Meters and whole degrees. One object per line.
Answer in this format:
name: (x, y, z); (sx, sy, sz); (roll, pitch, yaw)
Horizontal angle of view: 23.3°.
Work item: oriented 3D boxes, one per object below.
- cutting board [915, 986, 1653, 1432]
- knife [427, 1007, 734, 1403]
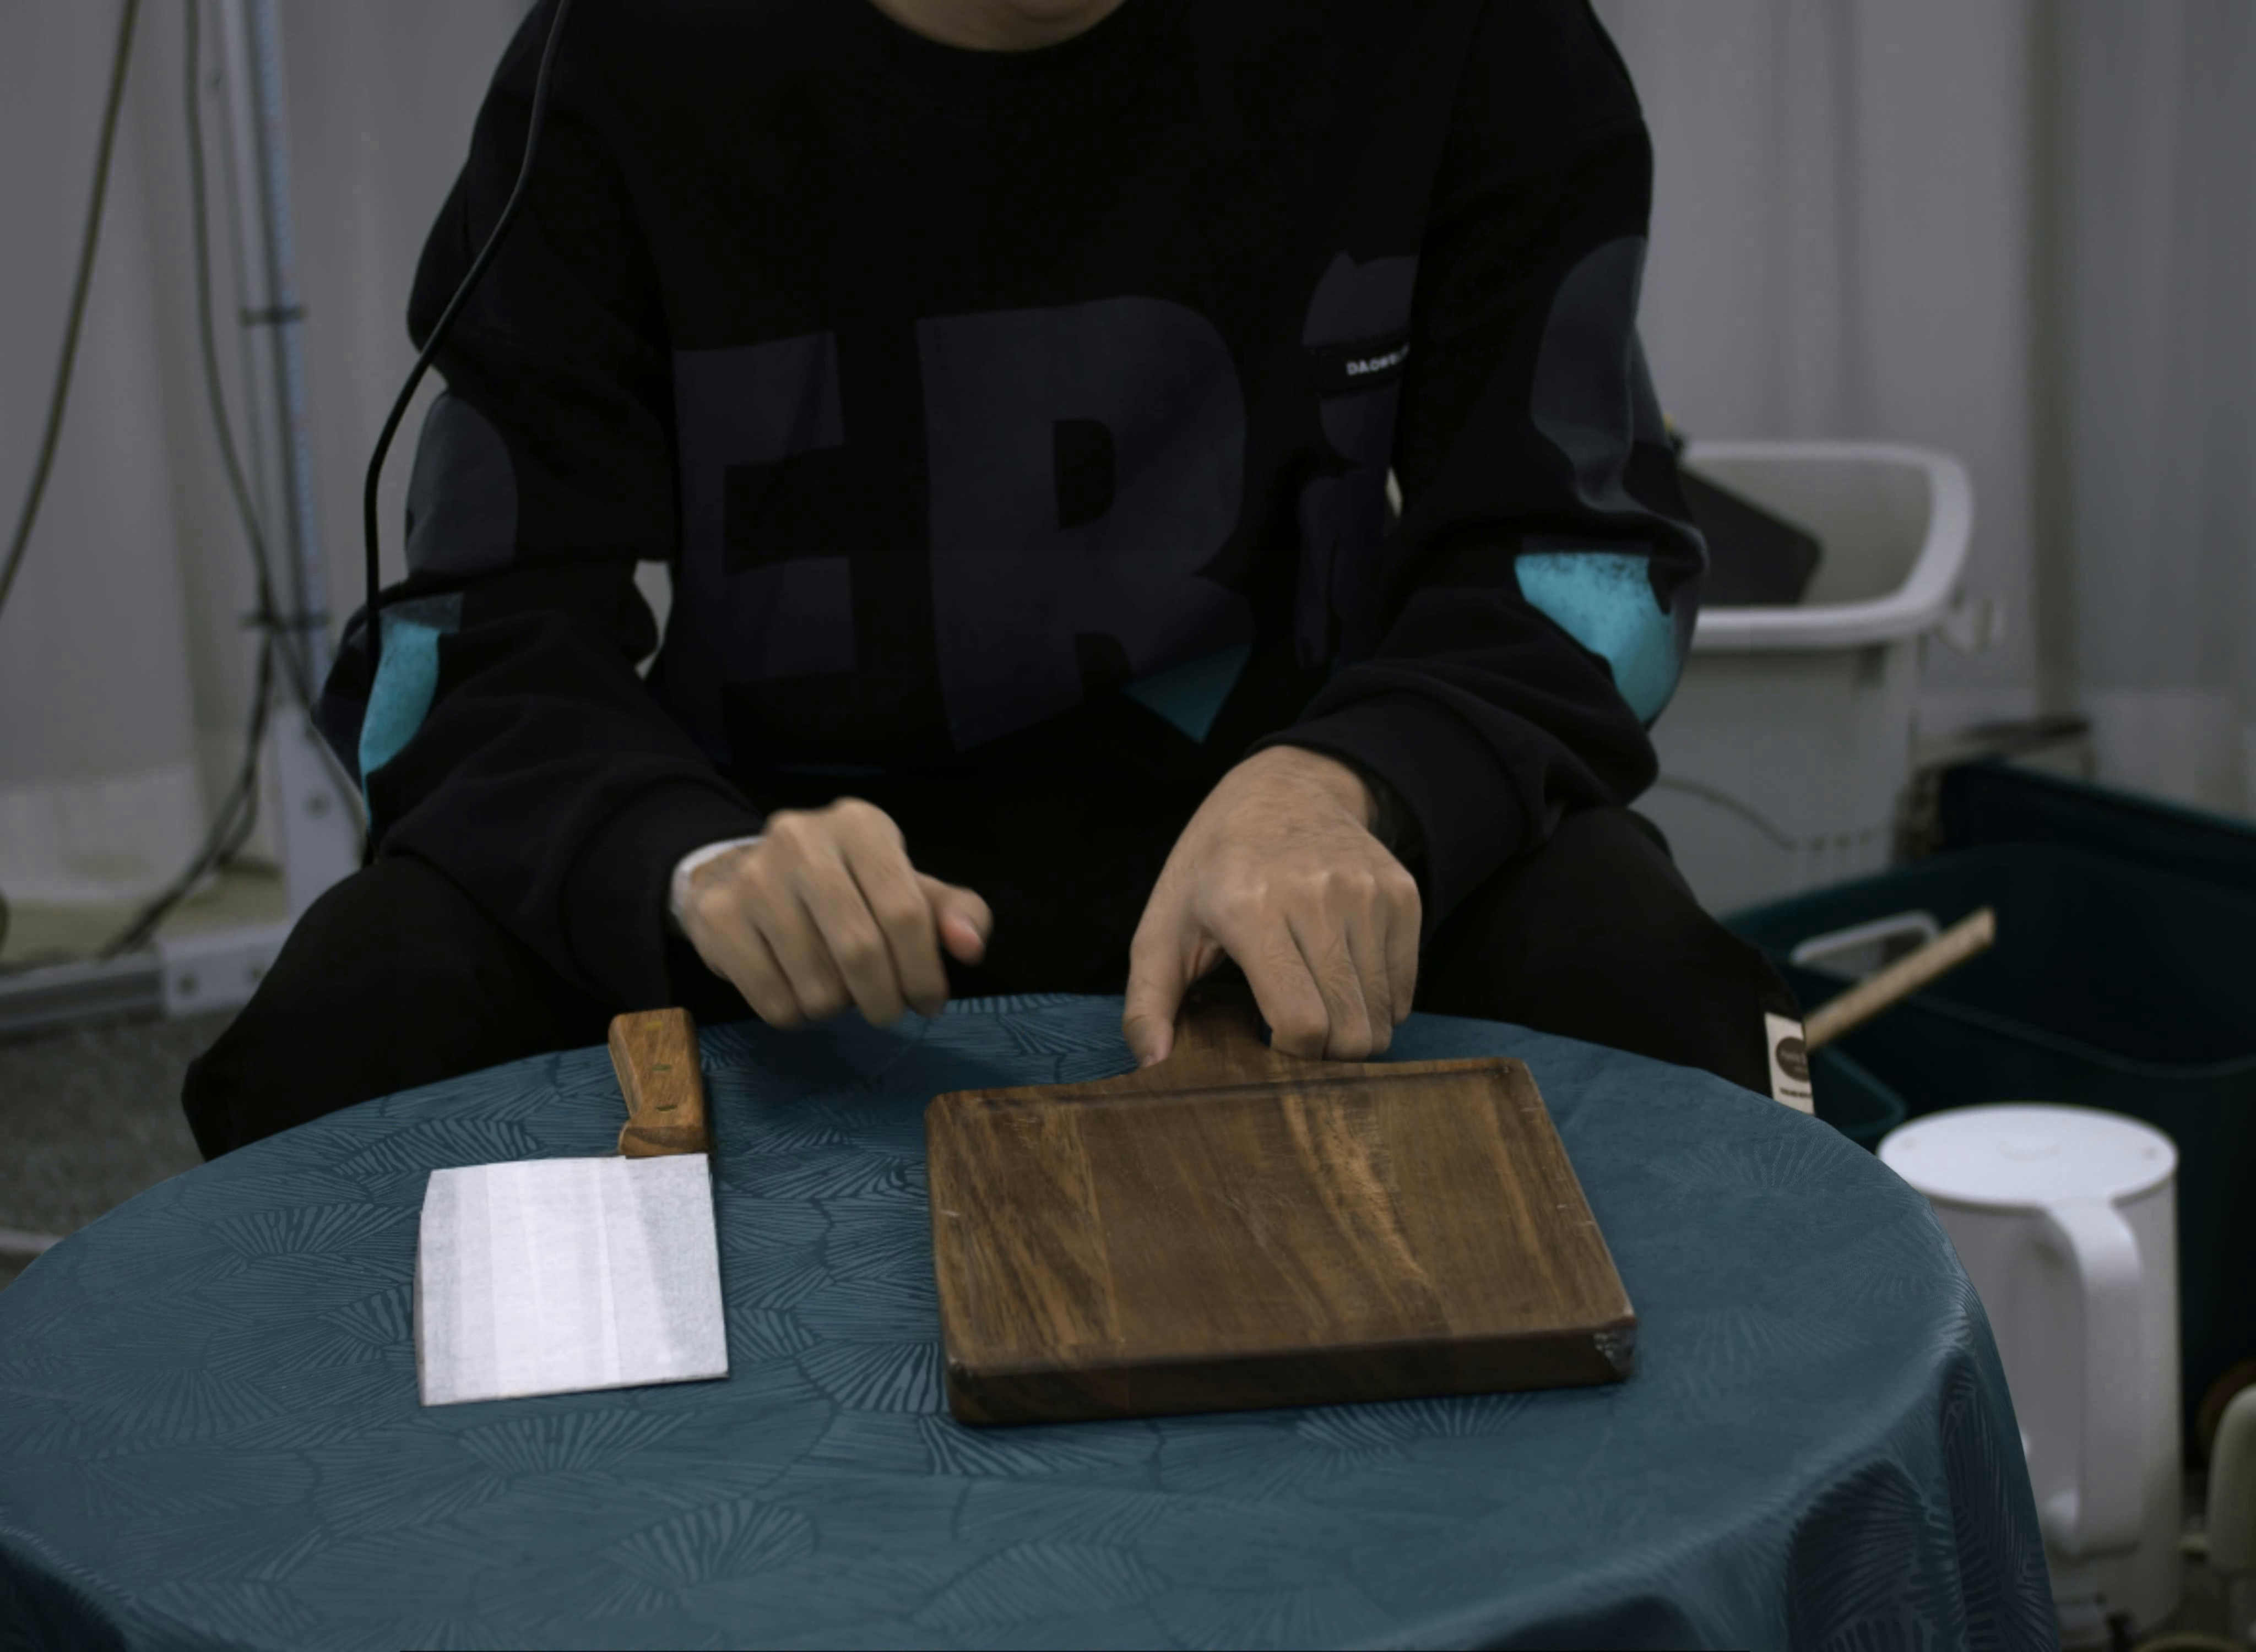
cutting board: (0.036, 0.109, 1.689); (0.200, 0.023, 0.355); (-4, 15, -3)
knife: (-0.173, 0.117, 1.711); (0.092, 0.021, 0.308); (-6, 17, -4)
